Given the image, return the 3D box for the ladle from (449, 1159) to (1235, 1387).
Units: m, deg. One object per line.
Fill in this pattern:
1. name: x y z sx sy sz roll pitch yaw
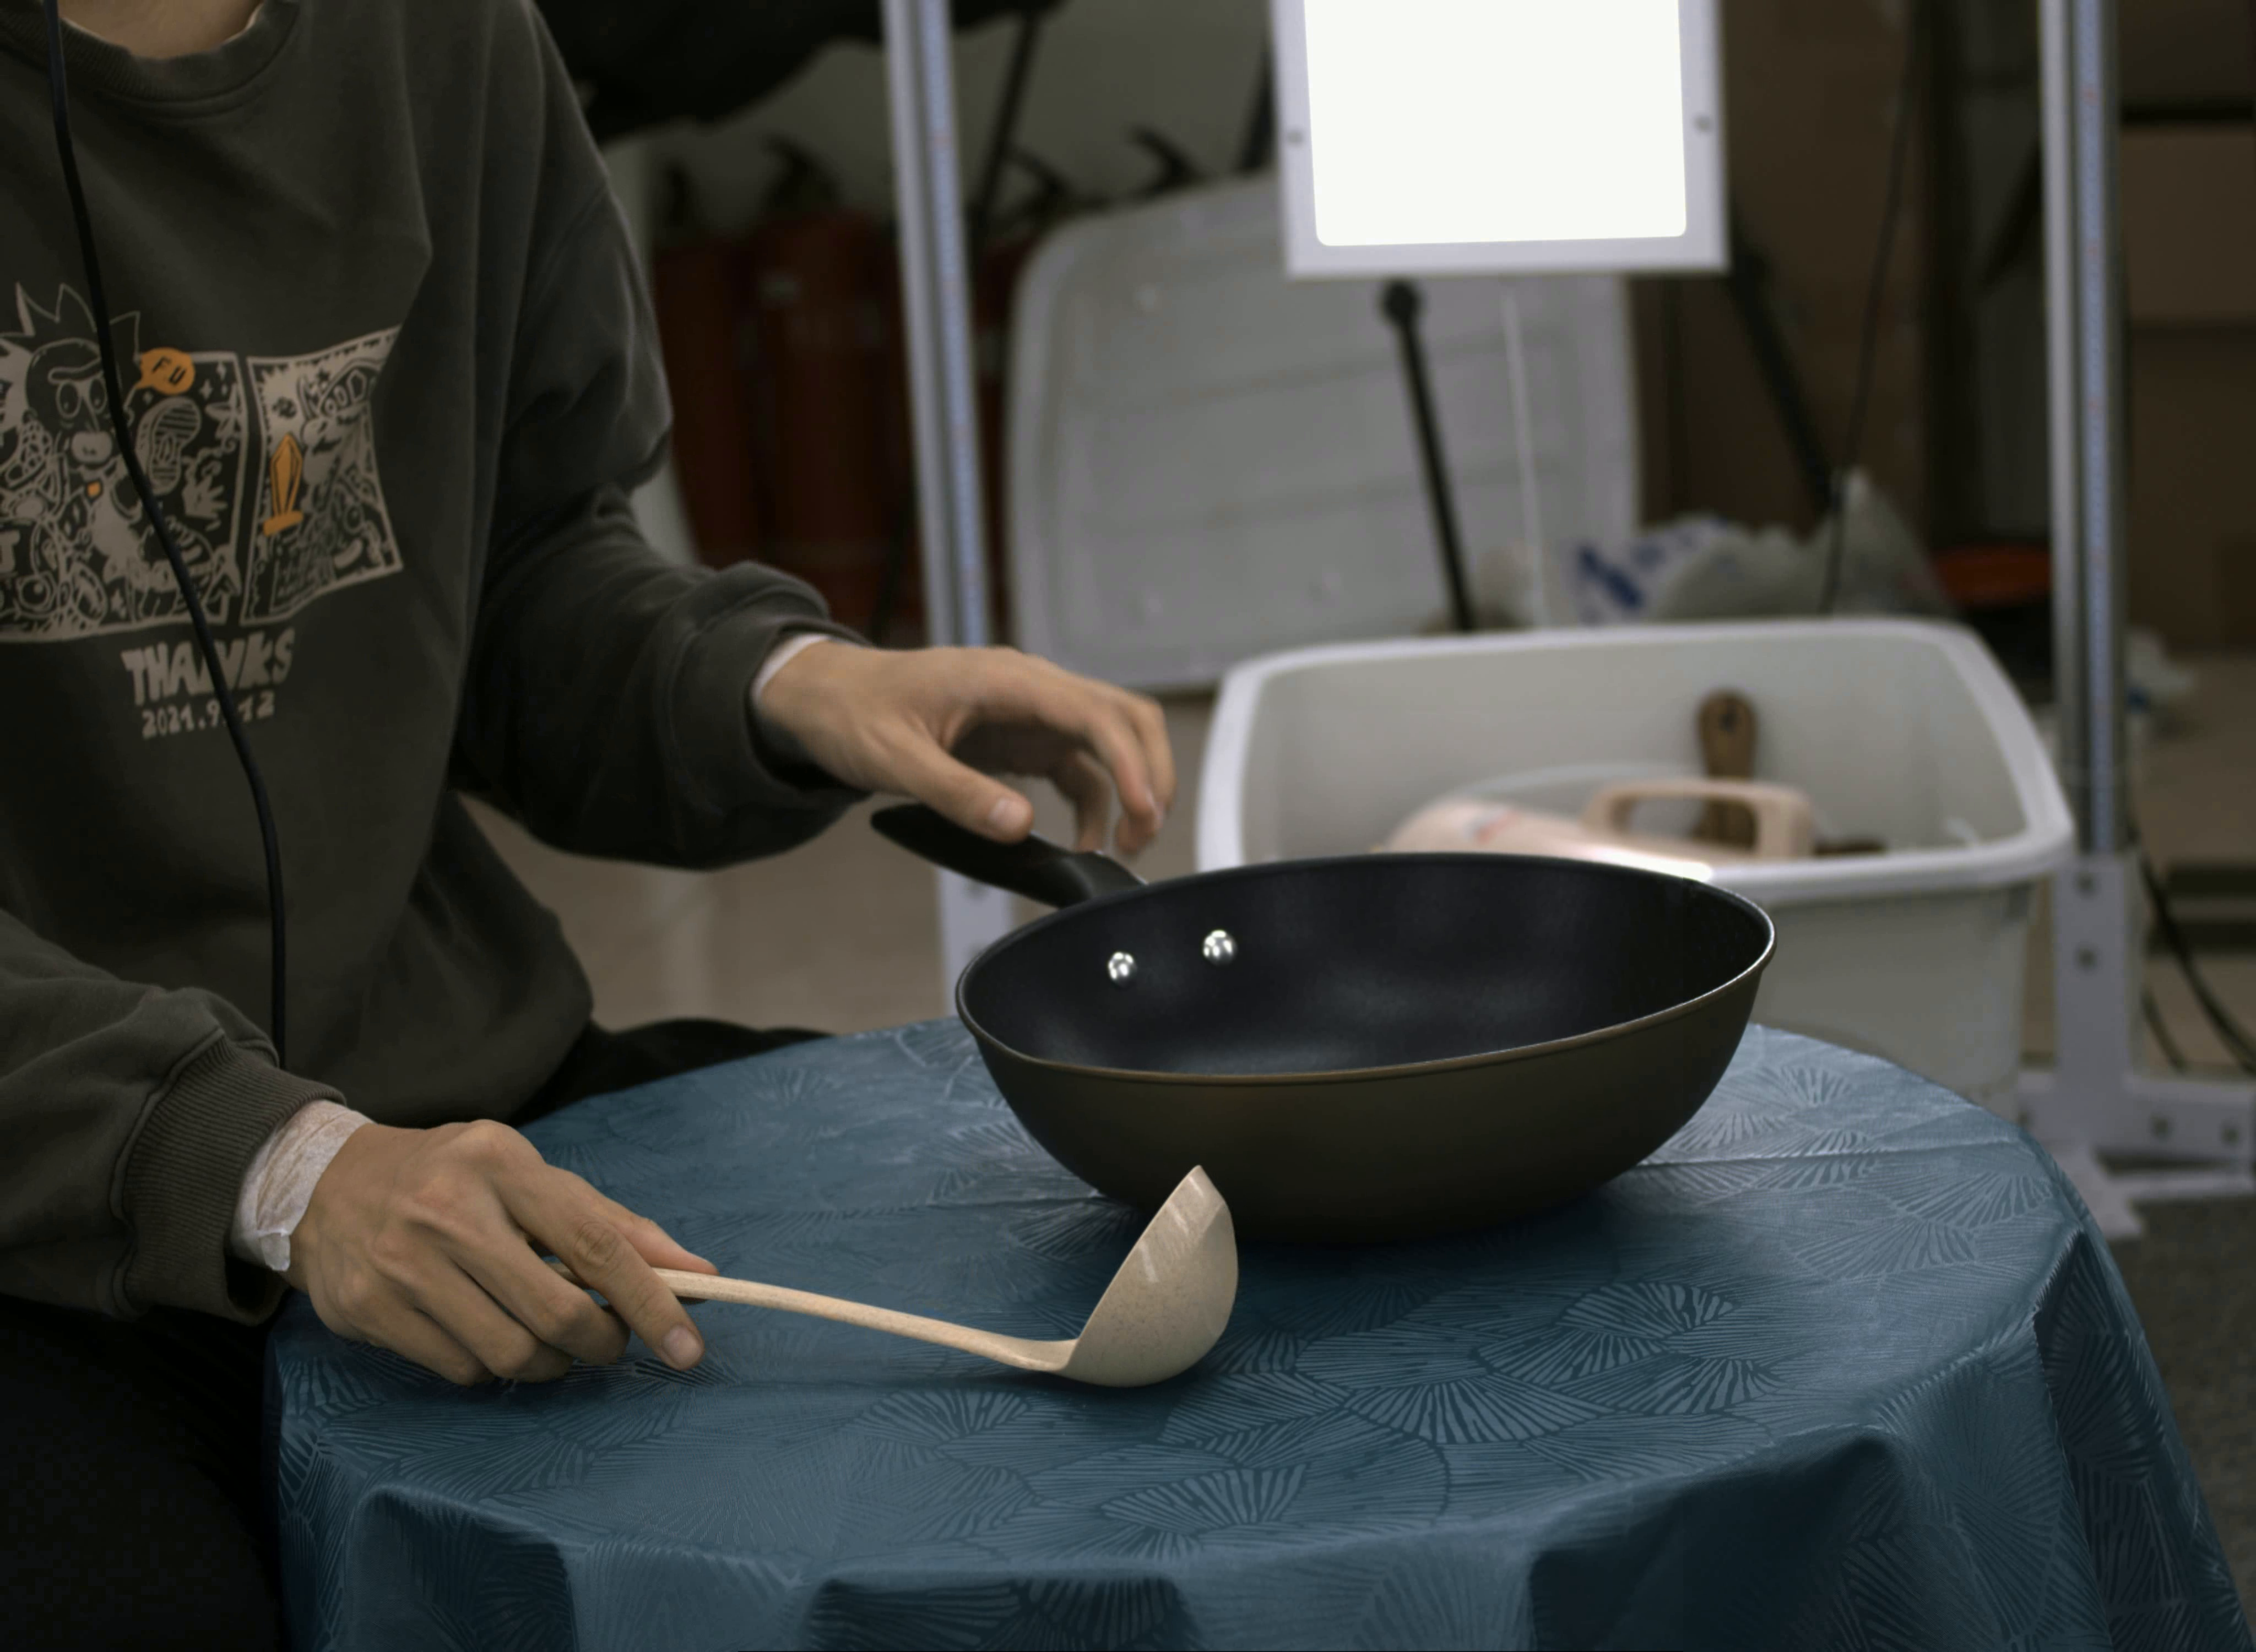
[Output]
1. ladle: -0.093 0.127 1.727 0.256 0.073 0.071 6 16 15

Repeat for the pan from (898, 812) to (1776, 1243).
1. pan: 0.035 0.067 1.953 0.282 0.087 0.472 -13 15 -29
